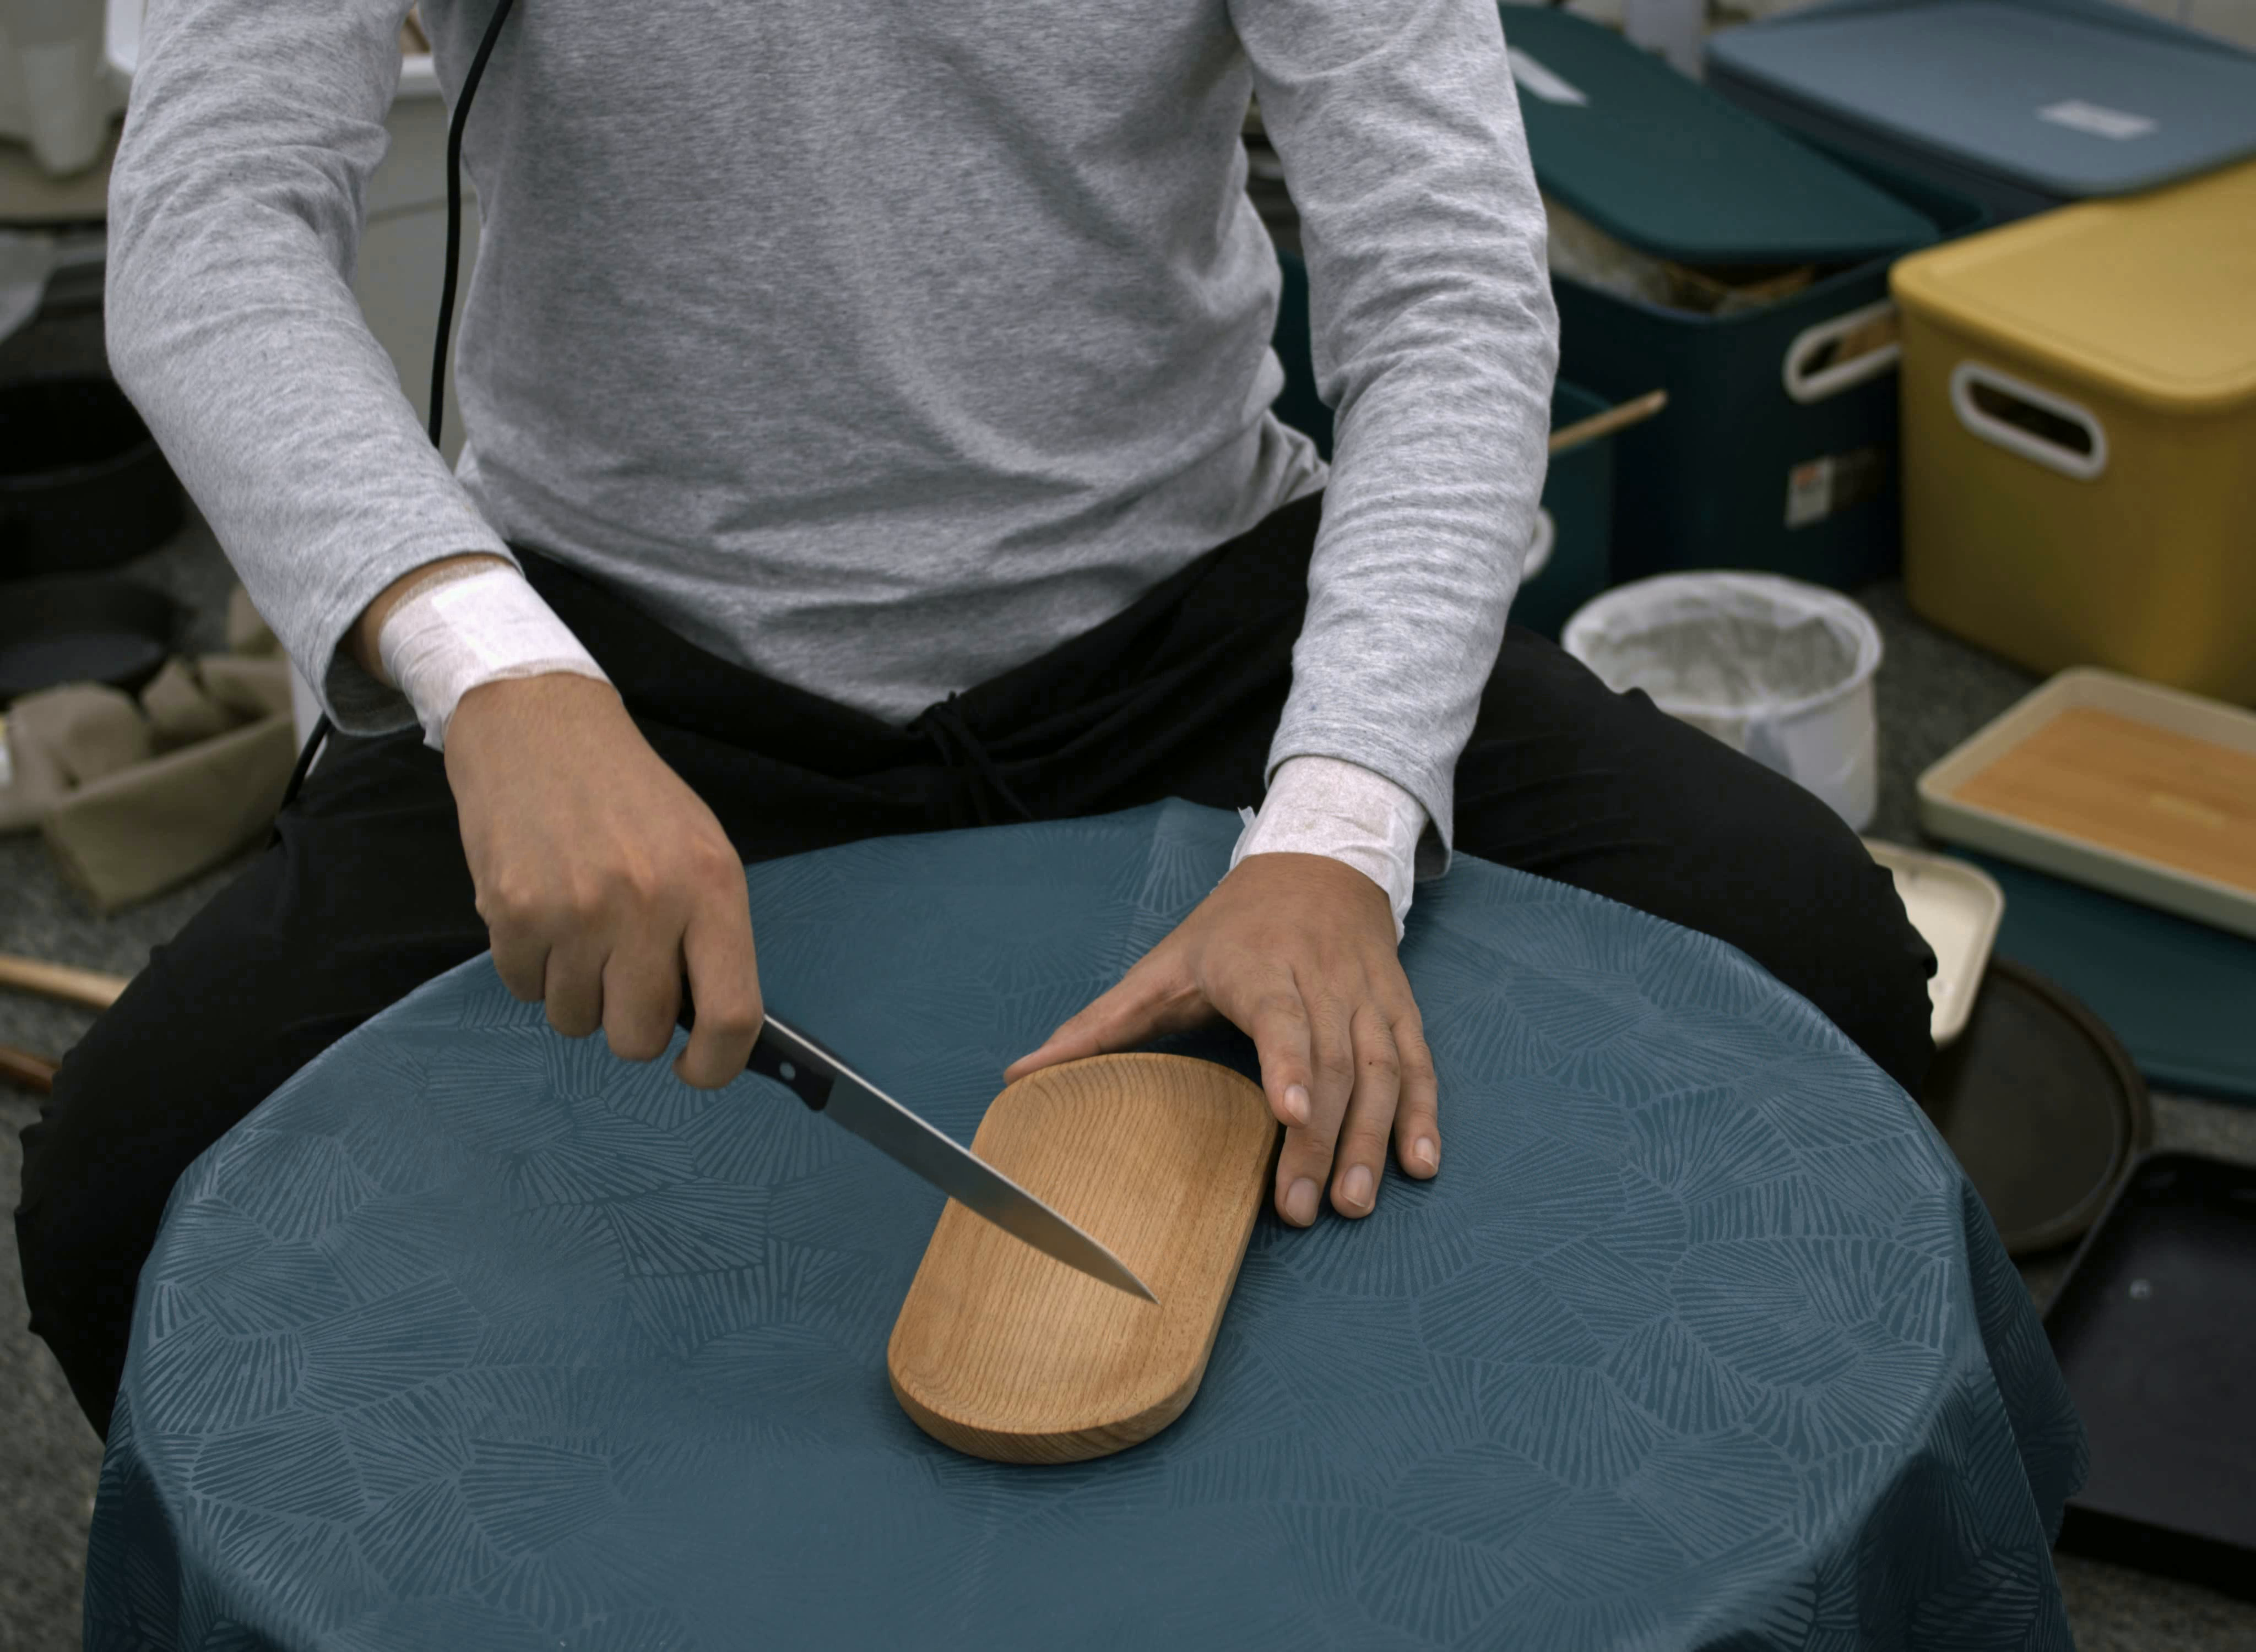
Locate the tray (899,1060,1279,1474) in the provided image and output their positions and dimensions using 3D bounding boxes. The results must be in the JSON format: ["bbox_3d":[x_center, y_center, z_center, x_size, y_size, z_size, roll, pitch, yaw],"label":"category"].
[{"bbox_3d":[-0.010,0.140,1.811,0.101,0.020,0.235,1,29,10],"label":"tray"}]

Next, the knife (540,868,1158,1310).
[{"bbox_3d":[-0.086,0.082,1.769,0.238,0.024,0.016,34,32,10],"label":"knife"}]
